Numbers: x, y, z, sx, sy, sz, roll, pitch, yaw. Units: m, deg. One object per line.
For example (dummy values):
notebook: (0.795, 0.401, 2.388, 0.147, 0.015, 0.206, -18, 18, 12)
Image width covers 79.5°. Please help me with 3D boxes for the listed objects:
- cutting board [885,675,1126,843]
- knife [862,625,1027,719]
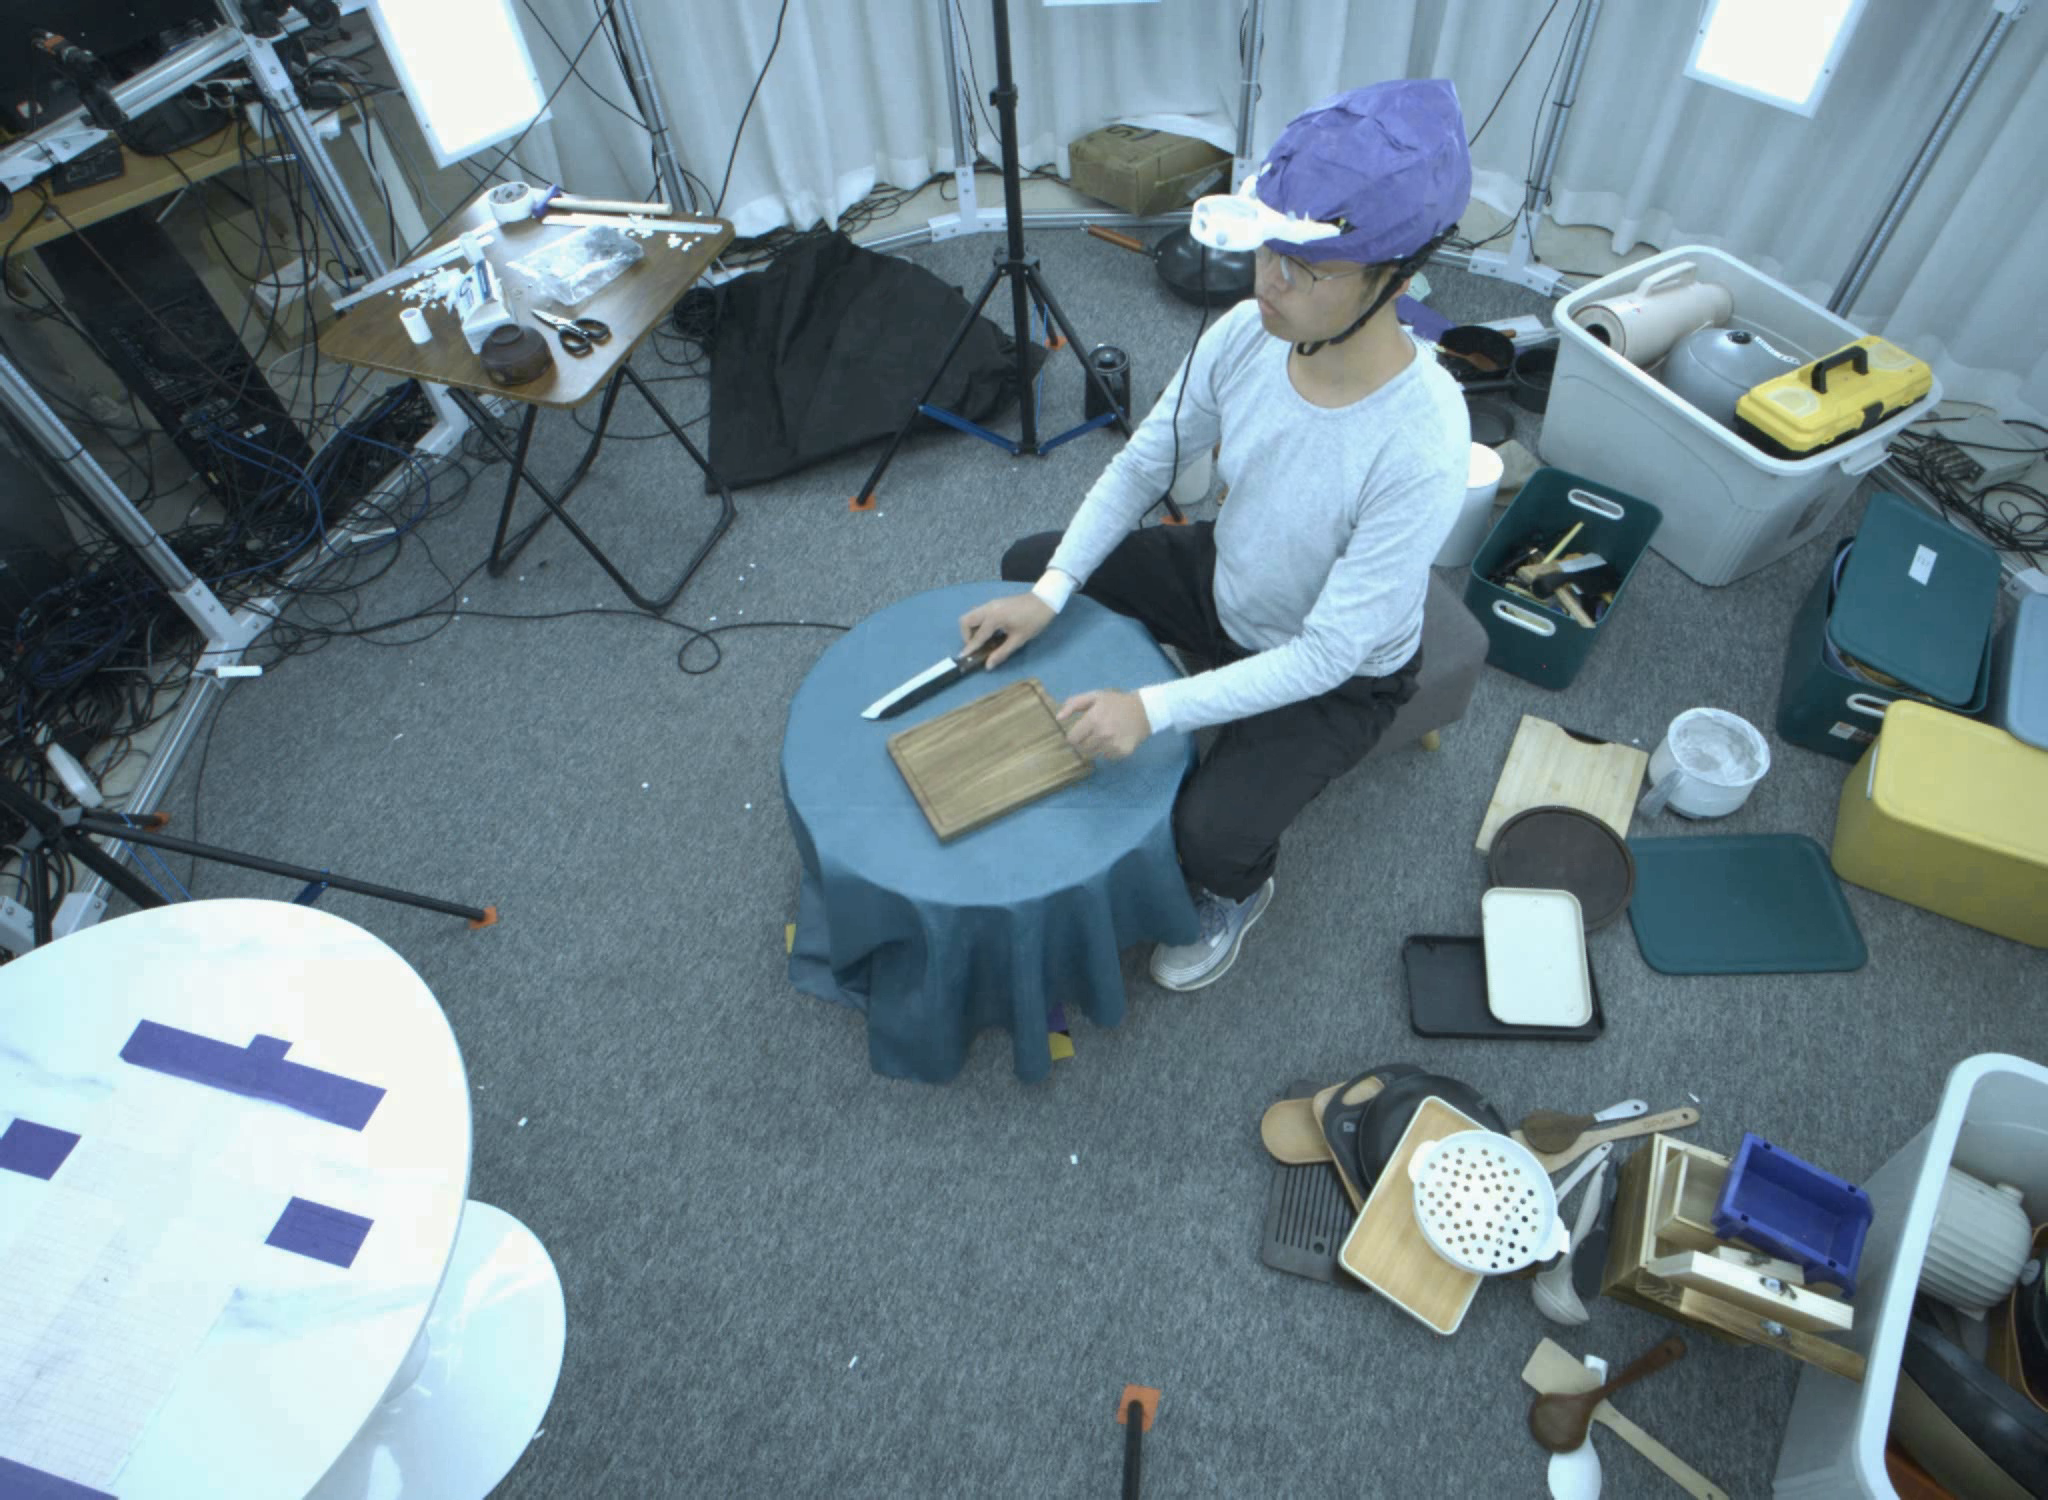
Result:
cutting board: (-0.006, -0.012, 1.792, 0.355, 0.023, 0.197, -24, 58, -15)
knife: (-0.120, -0.118, 1.873, 0.291, 0.020, 0.049, -30, 53, -17)
